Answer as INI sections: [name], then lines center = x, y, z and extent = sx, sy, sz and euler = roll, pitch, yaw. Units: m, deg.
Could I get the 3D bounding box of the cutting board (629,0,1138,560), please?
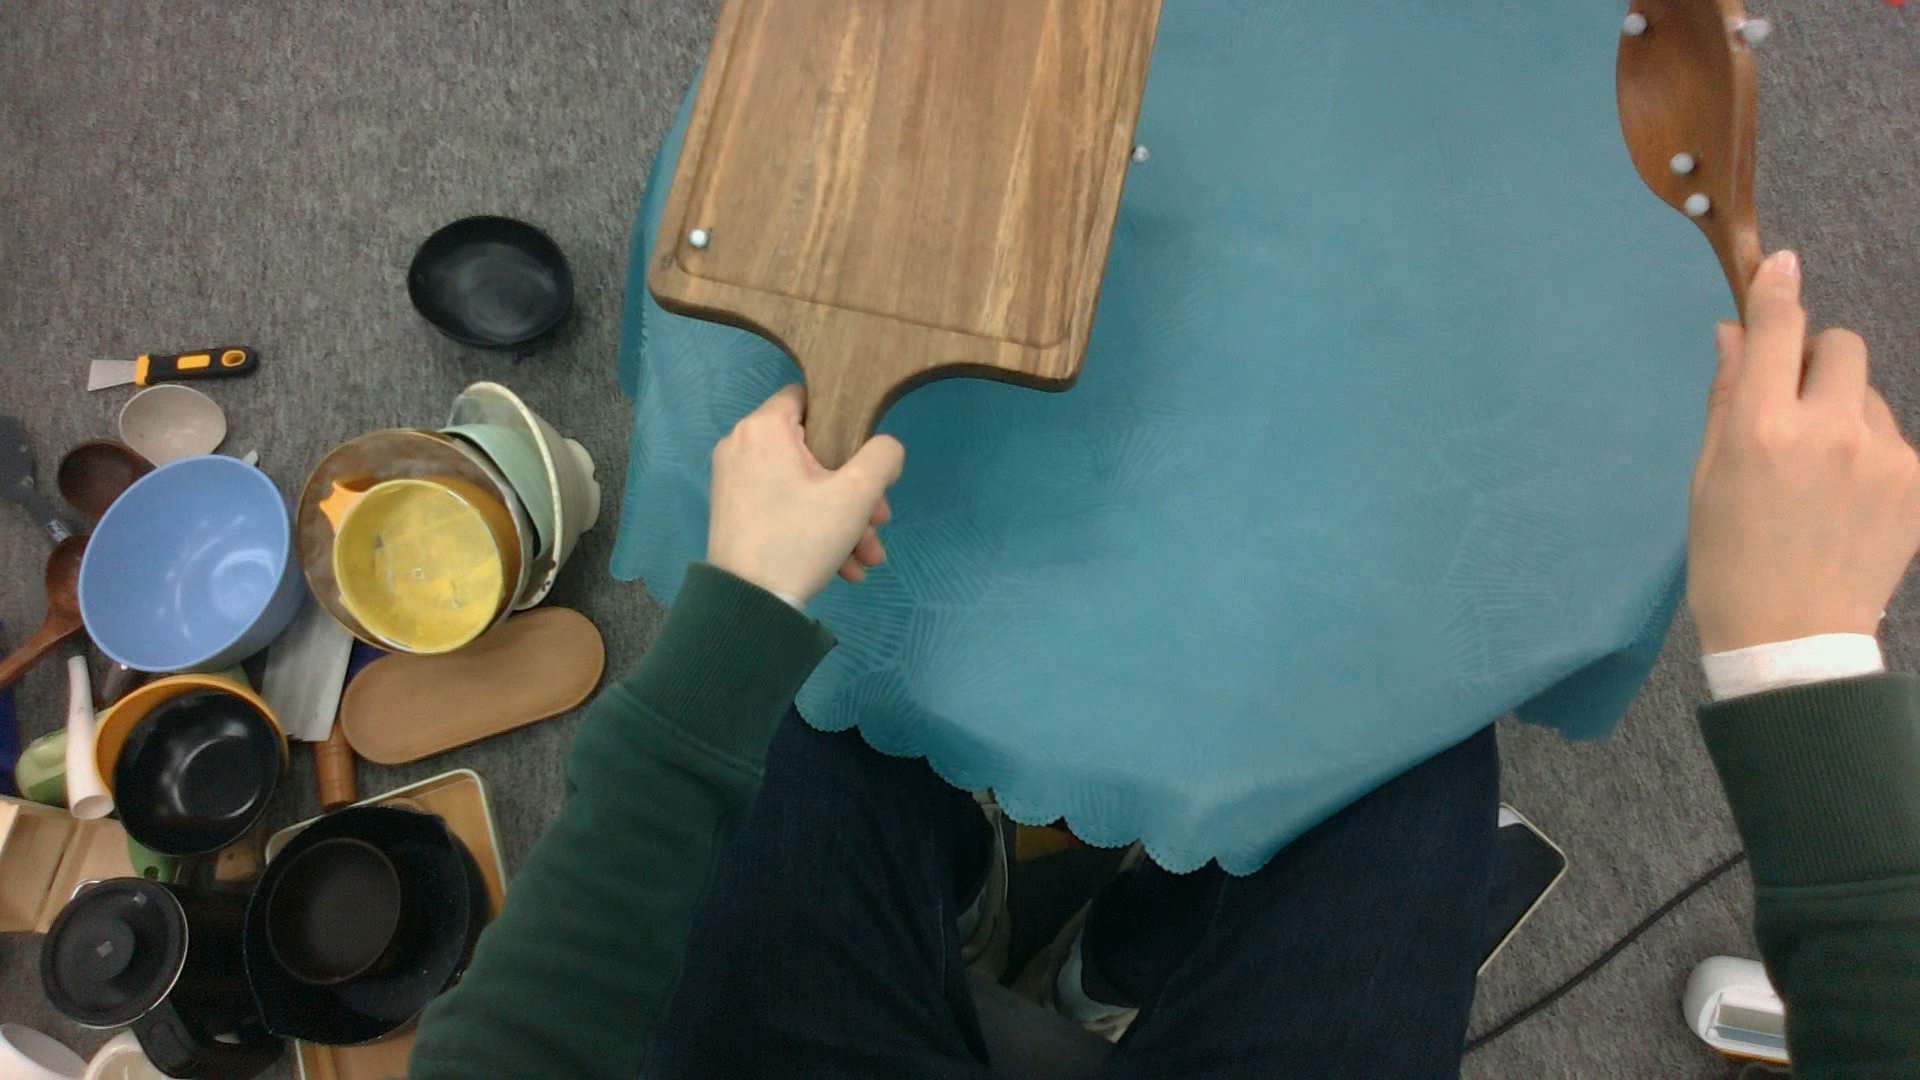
[cutting board]
center = -0.037, -0.163, 0.621
extent = 0.201, 0.023, 0.353
euler = 12, 78, 1

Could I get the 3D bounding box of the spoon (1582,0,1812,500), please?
[spoon]
center = 0.272, -0.115, 0.508
extent = 0.017, 0.075, 0.216
euler = -6, 70, -2
